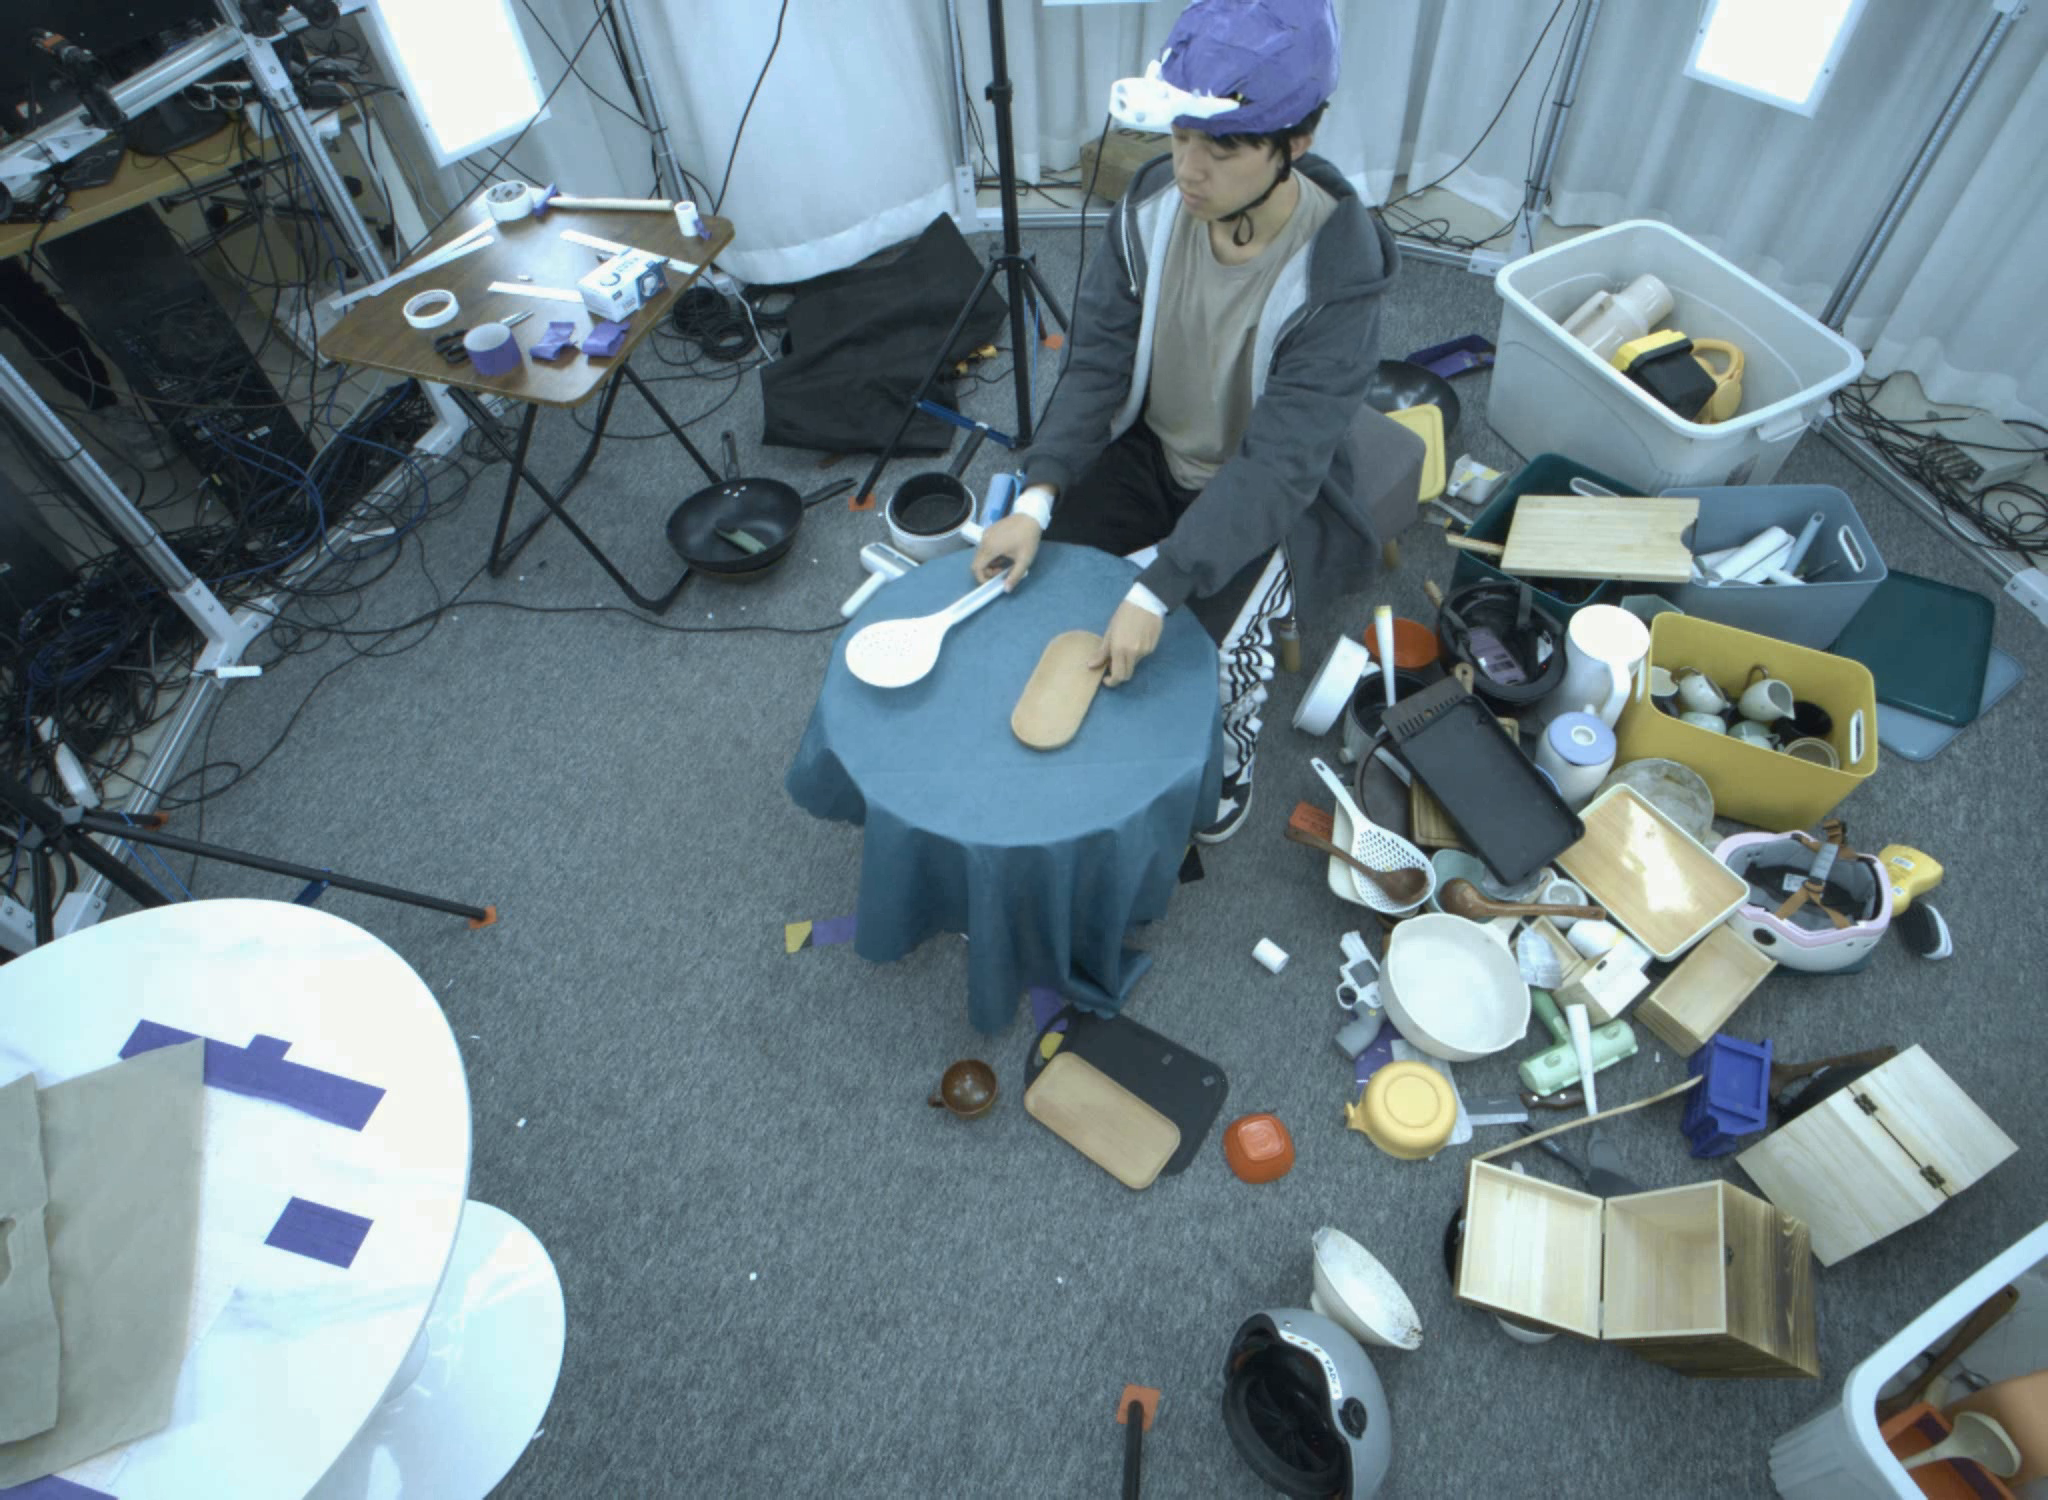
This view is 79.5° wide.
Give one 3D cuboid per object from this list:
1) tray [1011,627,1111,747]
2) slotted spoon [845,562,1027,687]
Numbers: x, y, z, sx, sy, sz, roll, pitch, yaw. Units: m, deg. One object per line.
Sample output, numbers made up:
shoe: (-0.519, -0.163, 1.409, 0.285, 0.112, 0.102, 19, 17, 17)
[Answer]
tray: (0.057, -0.096, 1.846, 0.100, 0.020, 0.231, 18, 56, 13)
slotted spoon: (-0.127, -0.202, 1.910, 0.134, 0.046, 0.352, 39, 63, 23)
